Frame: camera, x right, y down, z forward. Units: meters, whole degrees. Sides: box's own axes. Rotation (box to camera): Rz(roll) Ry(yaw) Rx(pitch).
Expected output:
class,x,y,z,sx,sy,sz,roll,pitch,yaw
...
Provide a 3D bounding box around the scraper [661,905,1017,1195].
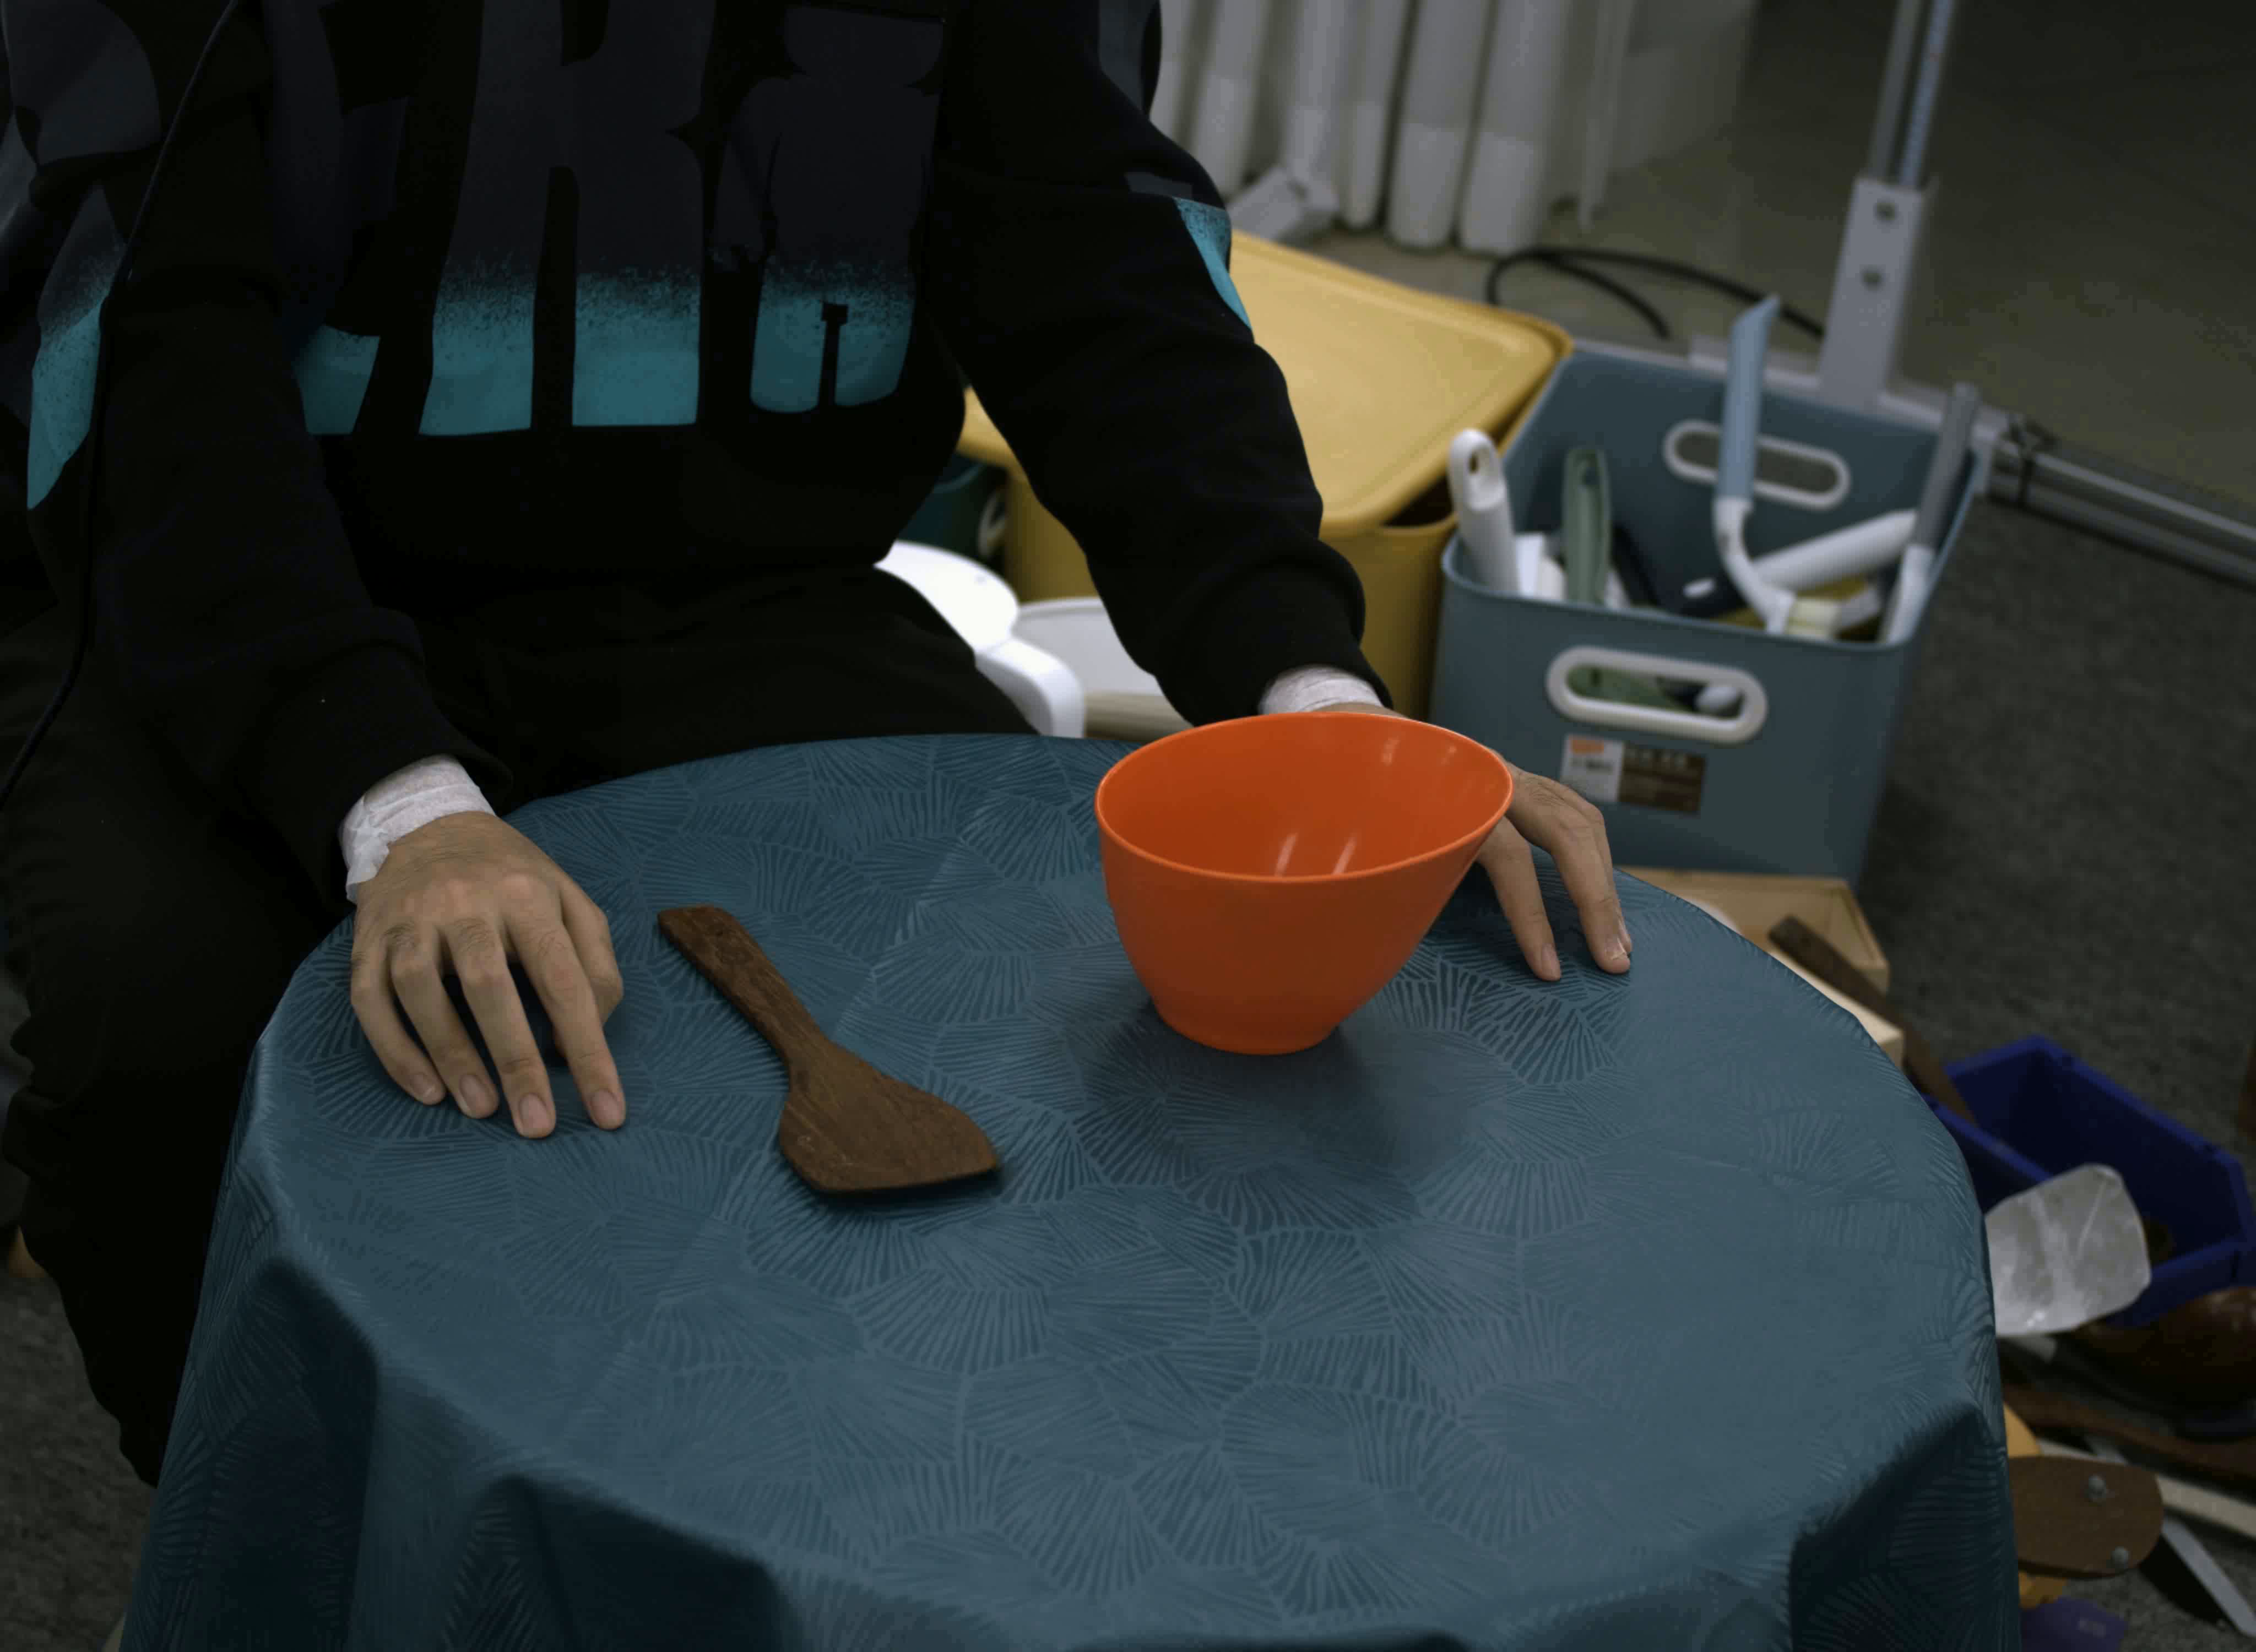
class,x,y,z,sx,sy,sz,roll,pitch,yaw
scraper,-0.113,0.077,1.859,0.075,0.011,0.213,-6,29,-26

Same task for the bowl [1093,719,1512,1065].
class,x,y,z,sx,sy,sz,roll,pitch,yaw
bowl,0.058,0.027,1.896,0.147,0.104,0.149,4,26,-2
